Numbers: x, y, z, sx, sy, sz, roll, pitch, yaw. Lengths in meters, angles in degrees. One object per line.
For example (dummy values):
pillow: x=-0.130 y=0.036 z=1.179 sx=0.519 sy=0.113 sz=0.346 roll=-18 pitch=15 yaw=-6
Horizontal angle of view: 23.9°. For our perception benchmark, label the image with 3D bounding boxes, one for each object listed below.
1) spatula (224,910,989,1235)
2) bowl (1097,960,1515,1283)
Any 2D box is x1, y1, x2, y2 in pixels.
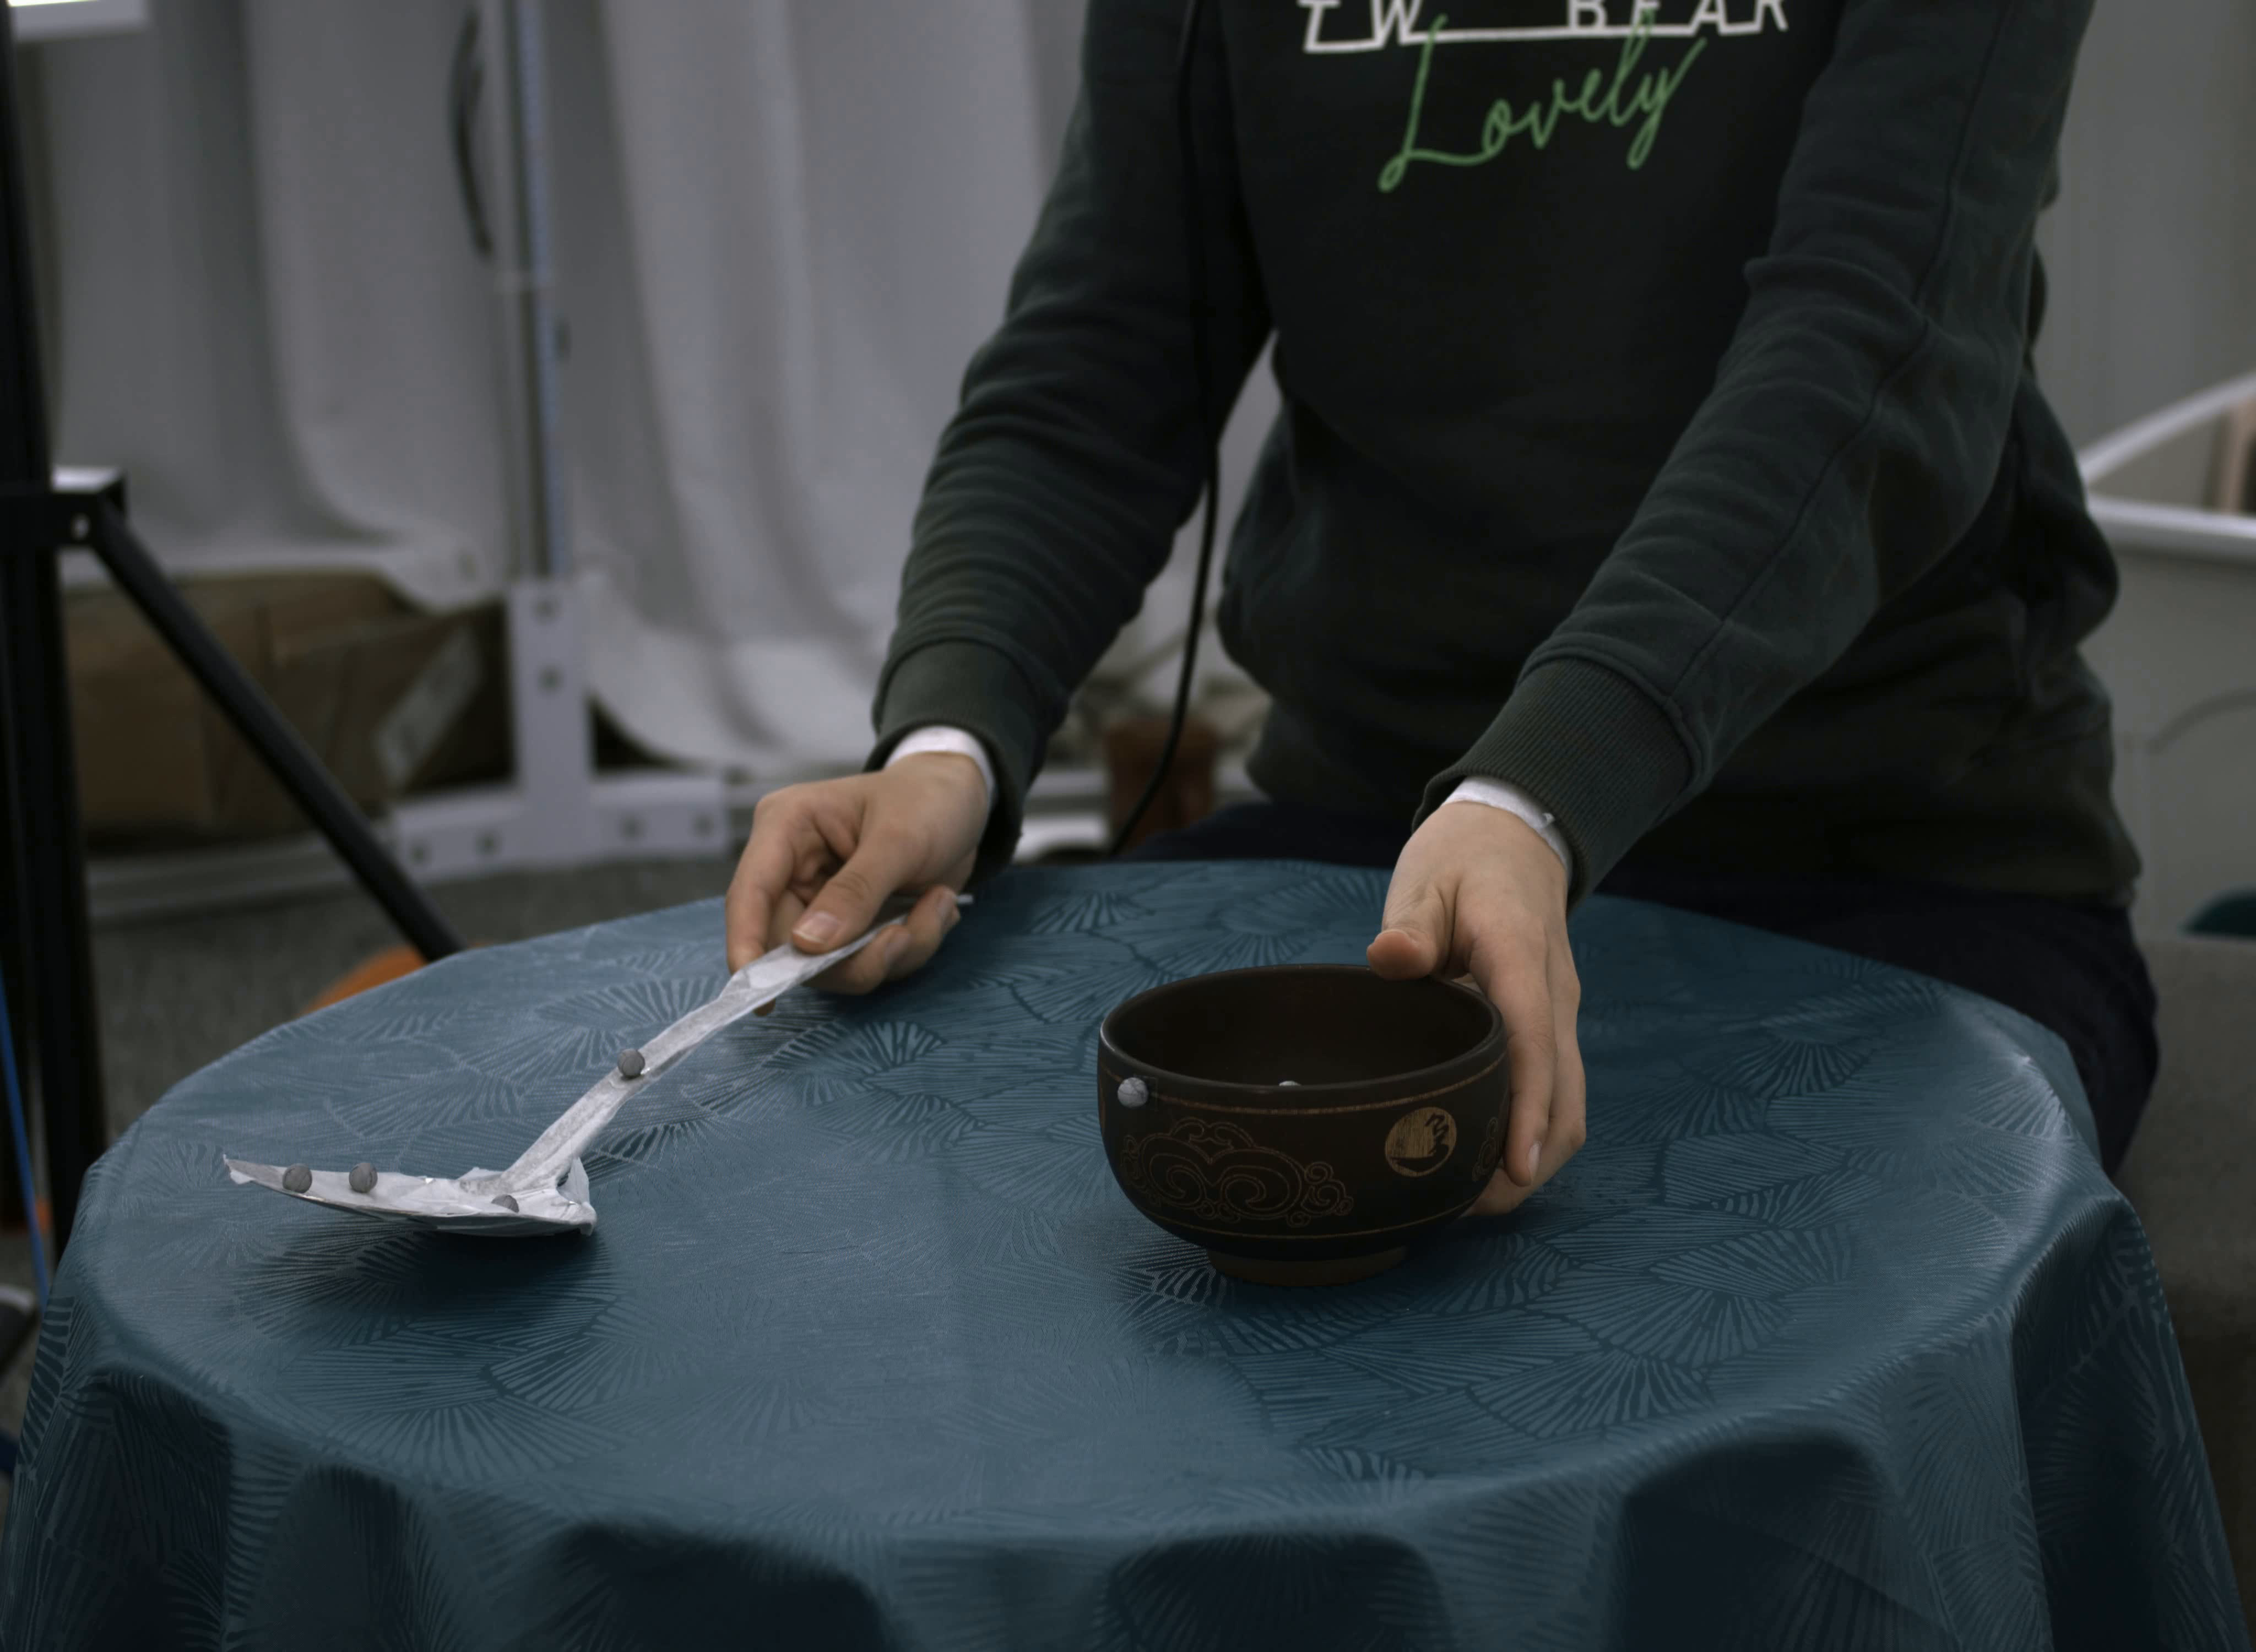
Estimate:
spatula: x=-0.139 y=0.066 z=1.640 sx=0.100 sy=0.045 sz=0.359 roll=6 pitch=21 yaw=27
bowl: x=0.050 y=0.087 z=1.492 sx=0.117 sy=0.070 sz=0.118 roll=-1 pitch=15 yaw=-1
